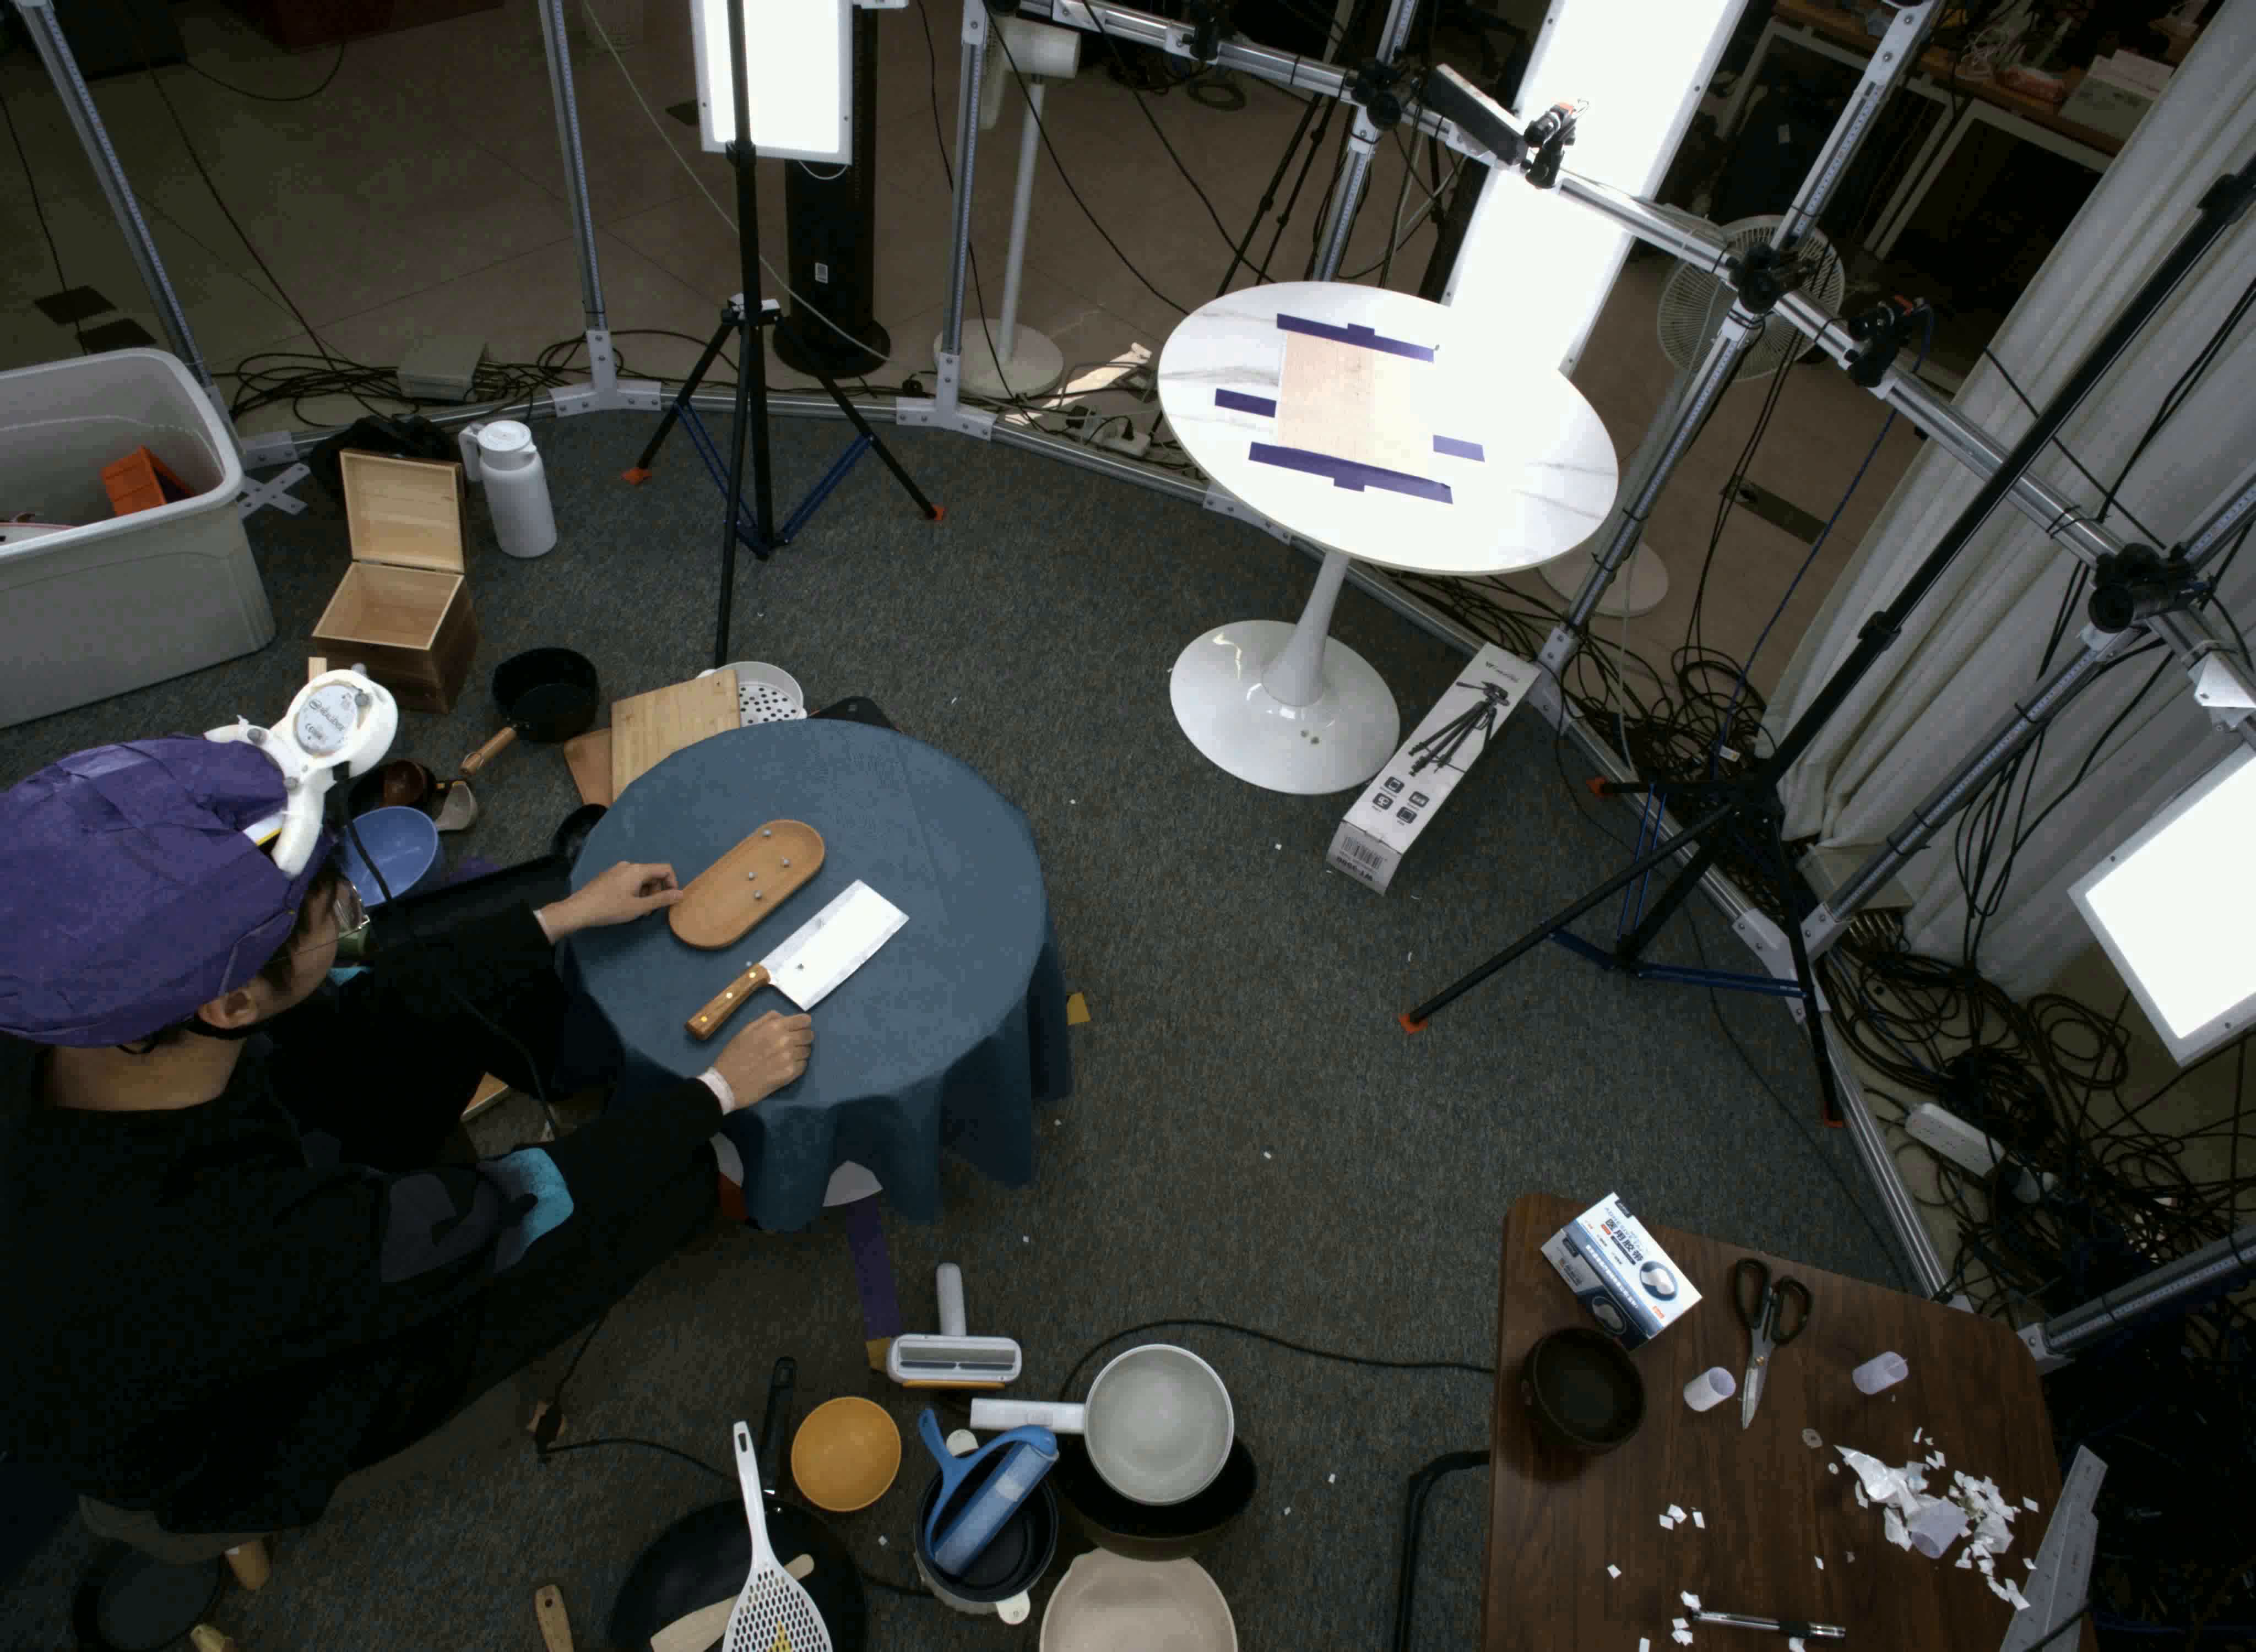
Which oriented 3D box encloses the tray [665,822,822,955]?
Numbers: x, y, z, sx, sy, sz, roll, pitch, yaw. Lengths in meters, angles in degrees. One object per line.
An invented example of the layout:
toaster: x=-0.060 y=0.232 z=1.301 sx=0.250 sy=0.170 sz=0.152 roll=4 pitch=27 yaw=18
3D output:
tray: x=-0.483 y=0.075 z=1.631 sx=0.100 sy=0.021 sz=0.231 roll=34 pitch=54 yaw=13

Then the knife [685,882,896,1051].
knife: x=-0.400 y=0.176 z=1.578 sx=0.091 sy=0.021 sz=0.305 roll=36 pitch=51 yaw=11
